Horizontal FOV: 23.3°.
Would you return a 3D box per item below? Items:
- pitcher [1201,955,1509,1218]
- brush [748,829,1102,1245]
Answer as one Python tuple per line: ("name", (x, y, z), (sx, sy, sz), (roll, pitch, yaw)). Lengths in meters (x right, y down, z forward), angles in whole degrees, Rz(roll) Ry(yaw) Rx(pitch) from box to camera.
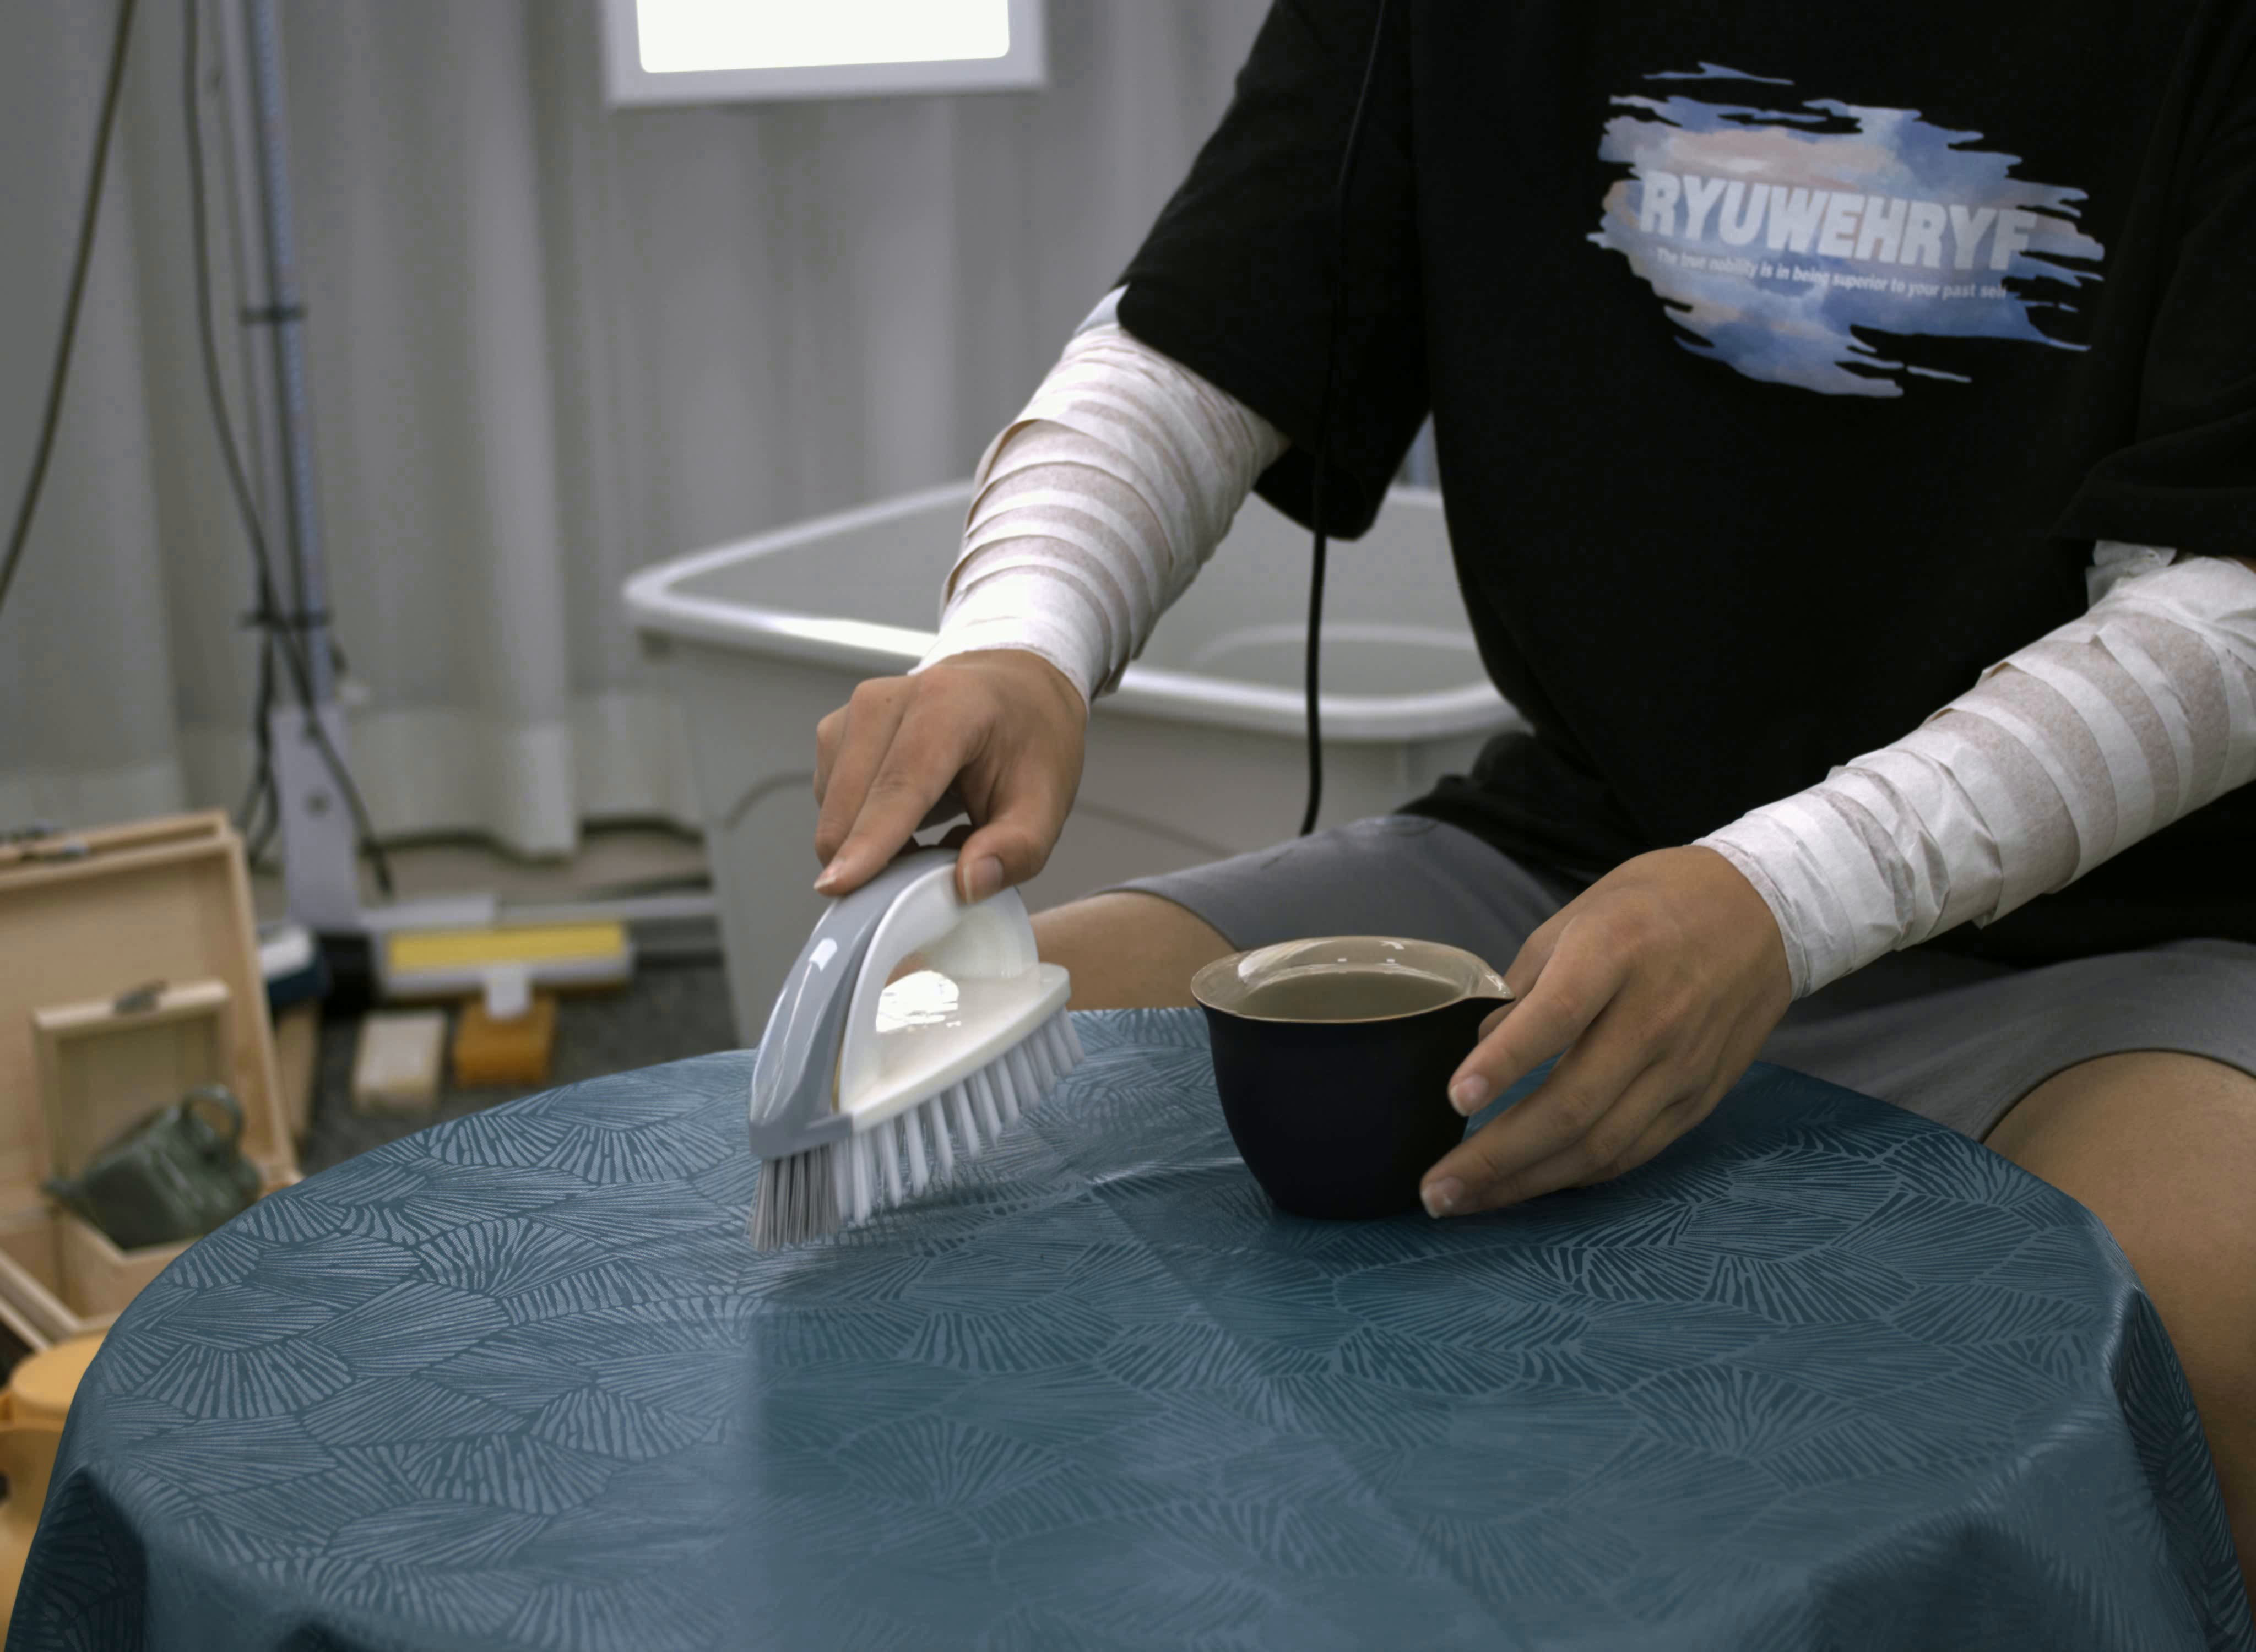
("pitcher", (0.070, 0.080, 1.689), (0.096, 0.071, 0.084), (5, 14, 16))
("brush", (-0.073, 0.059, 1.692), (0.061, 0.094, 0.176), (-4, 17, 29))
